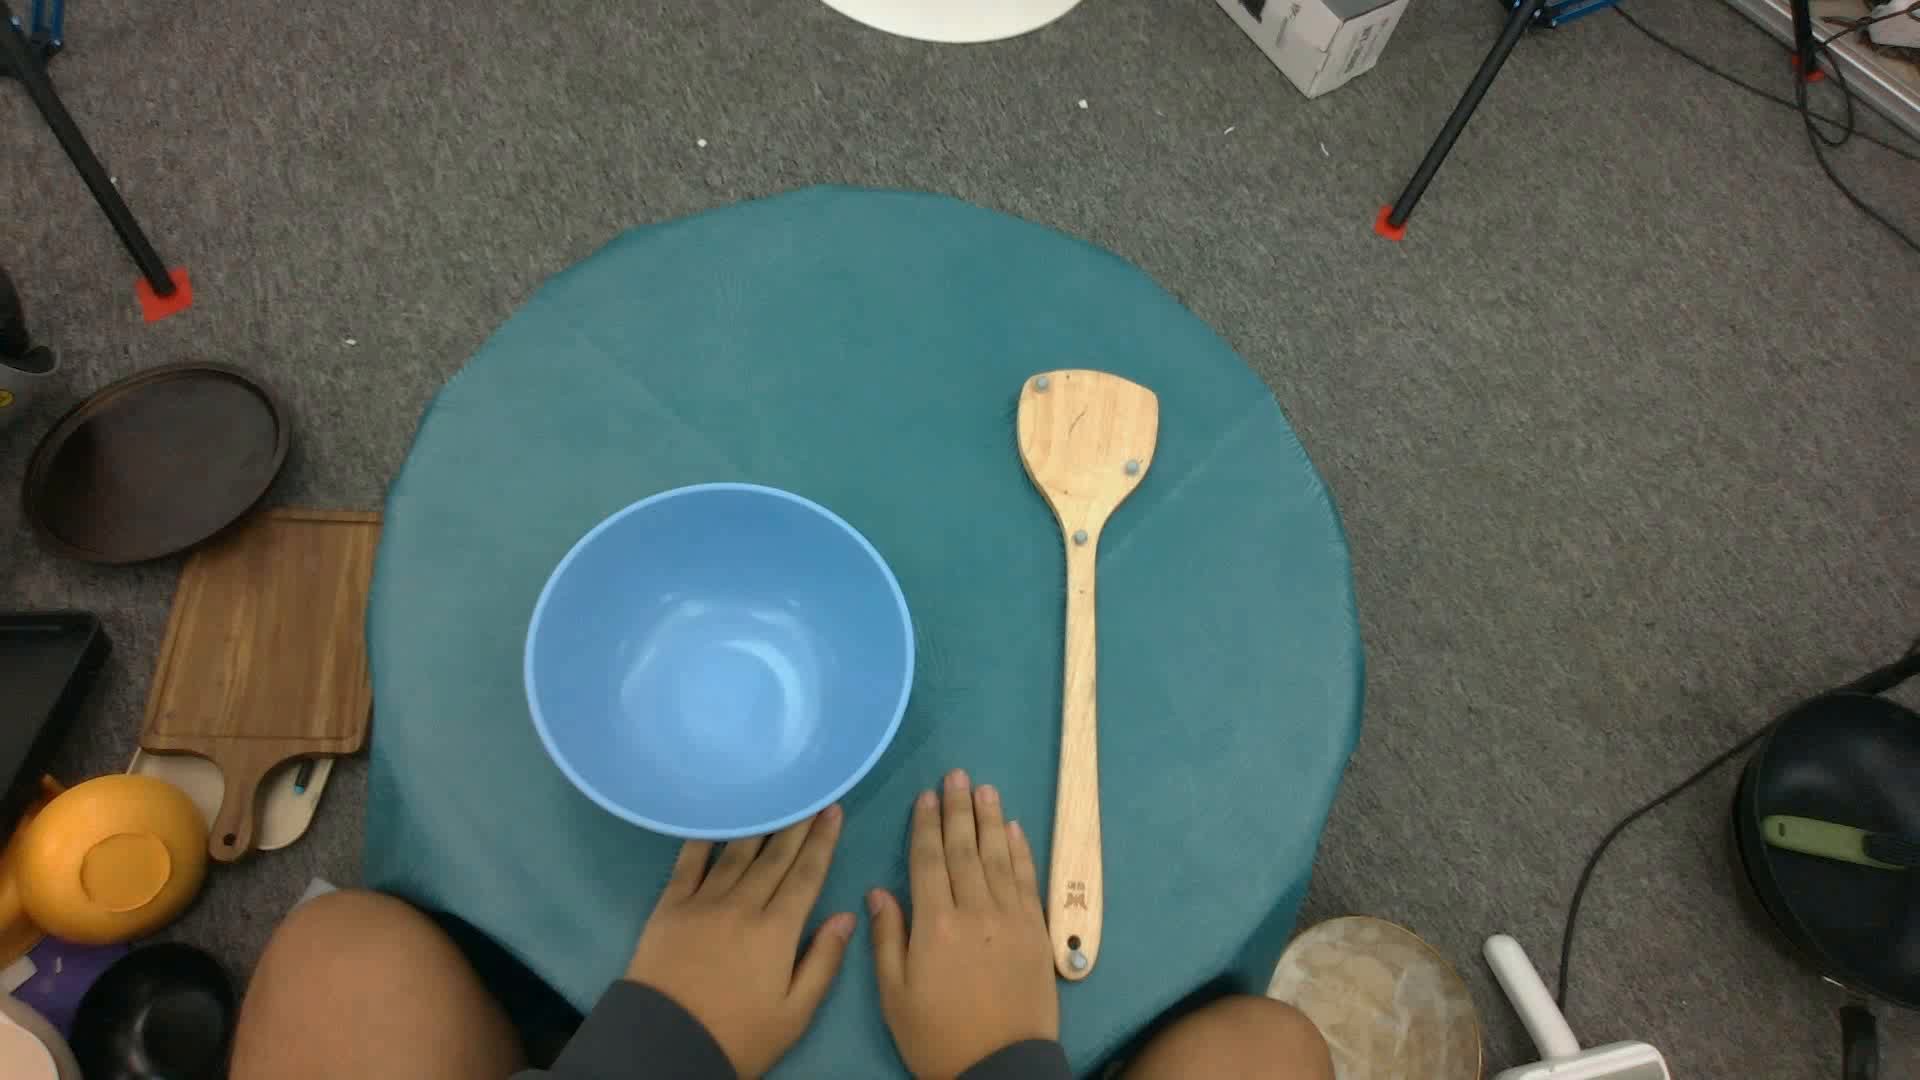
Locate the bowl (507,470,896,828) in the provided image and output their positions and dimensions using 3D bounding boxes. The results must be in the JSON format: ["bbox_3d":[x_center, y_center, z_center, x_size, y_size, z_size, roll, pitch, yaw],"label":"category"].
[{"bbox_3d":[-0.138,0.070,0.746,0.196,0.095,0.197,5,62,-10],"label":"bowl"}]

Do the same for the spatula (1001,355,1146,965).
[{"bbox_3d":[0.067,0.054,0.831,0.096,0.018,0.392,5,62,-5],"label":"spatula"}]
